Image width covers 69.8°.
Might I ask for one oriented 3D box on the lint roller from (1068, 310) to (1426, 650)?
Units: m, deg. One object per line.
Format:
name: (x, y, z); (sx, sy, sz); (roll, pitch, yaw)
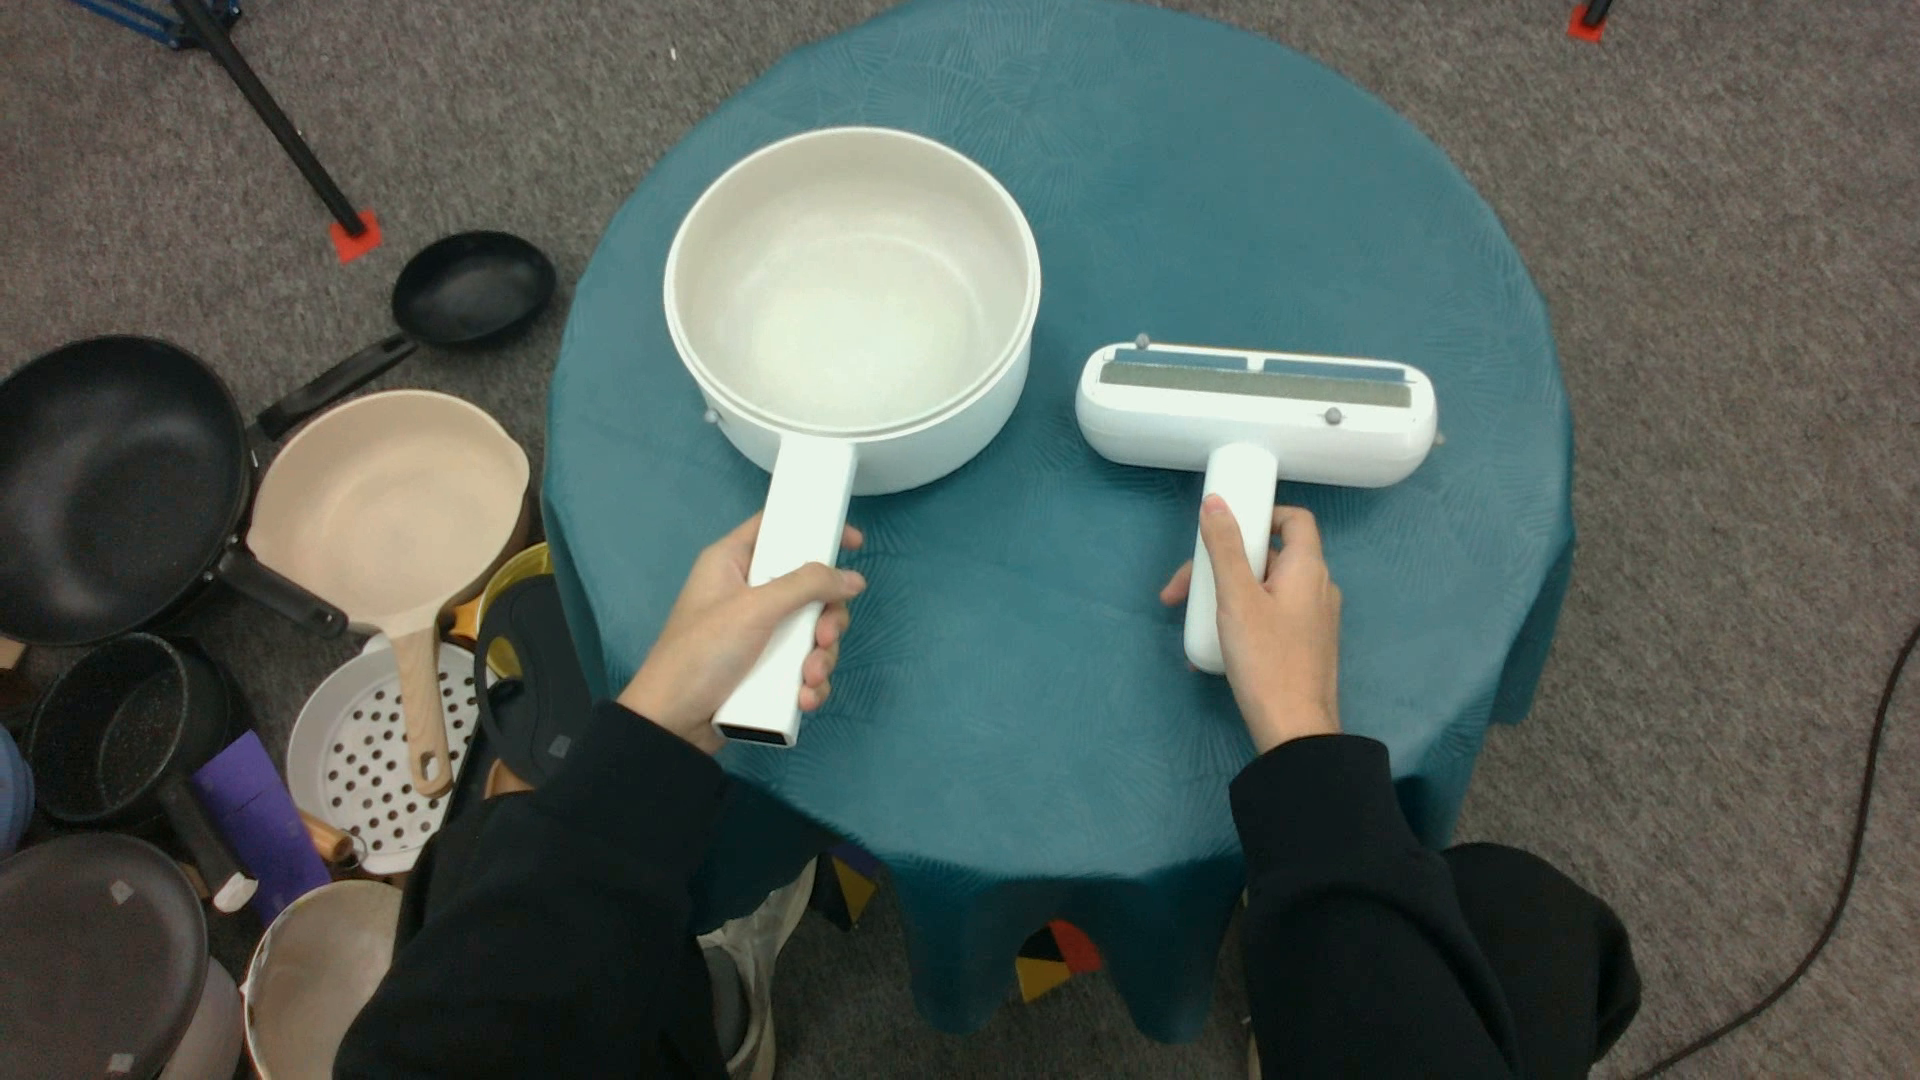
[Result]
lint roller: (0.140, -0.034, 0.733); (0.193, 0.074, 0.193); (12, 57, 11)

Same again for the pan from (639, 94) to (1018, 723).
pan: (-0.080, -0.069, 0.741); (0.201, 0.102, 0.356); (8, 67, 3)
